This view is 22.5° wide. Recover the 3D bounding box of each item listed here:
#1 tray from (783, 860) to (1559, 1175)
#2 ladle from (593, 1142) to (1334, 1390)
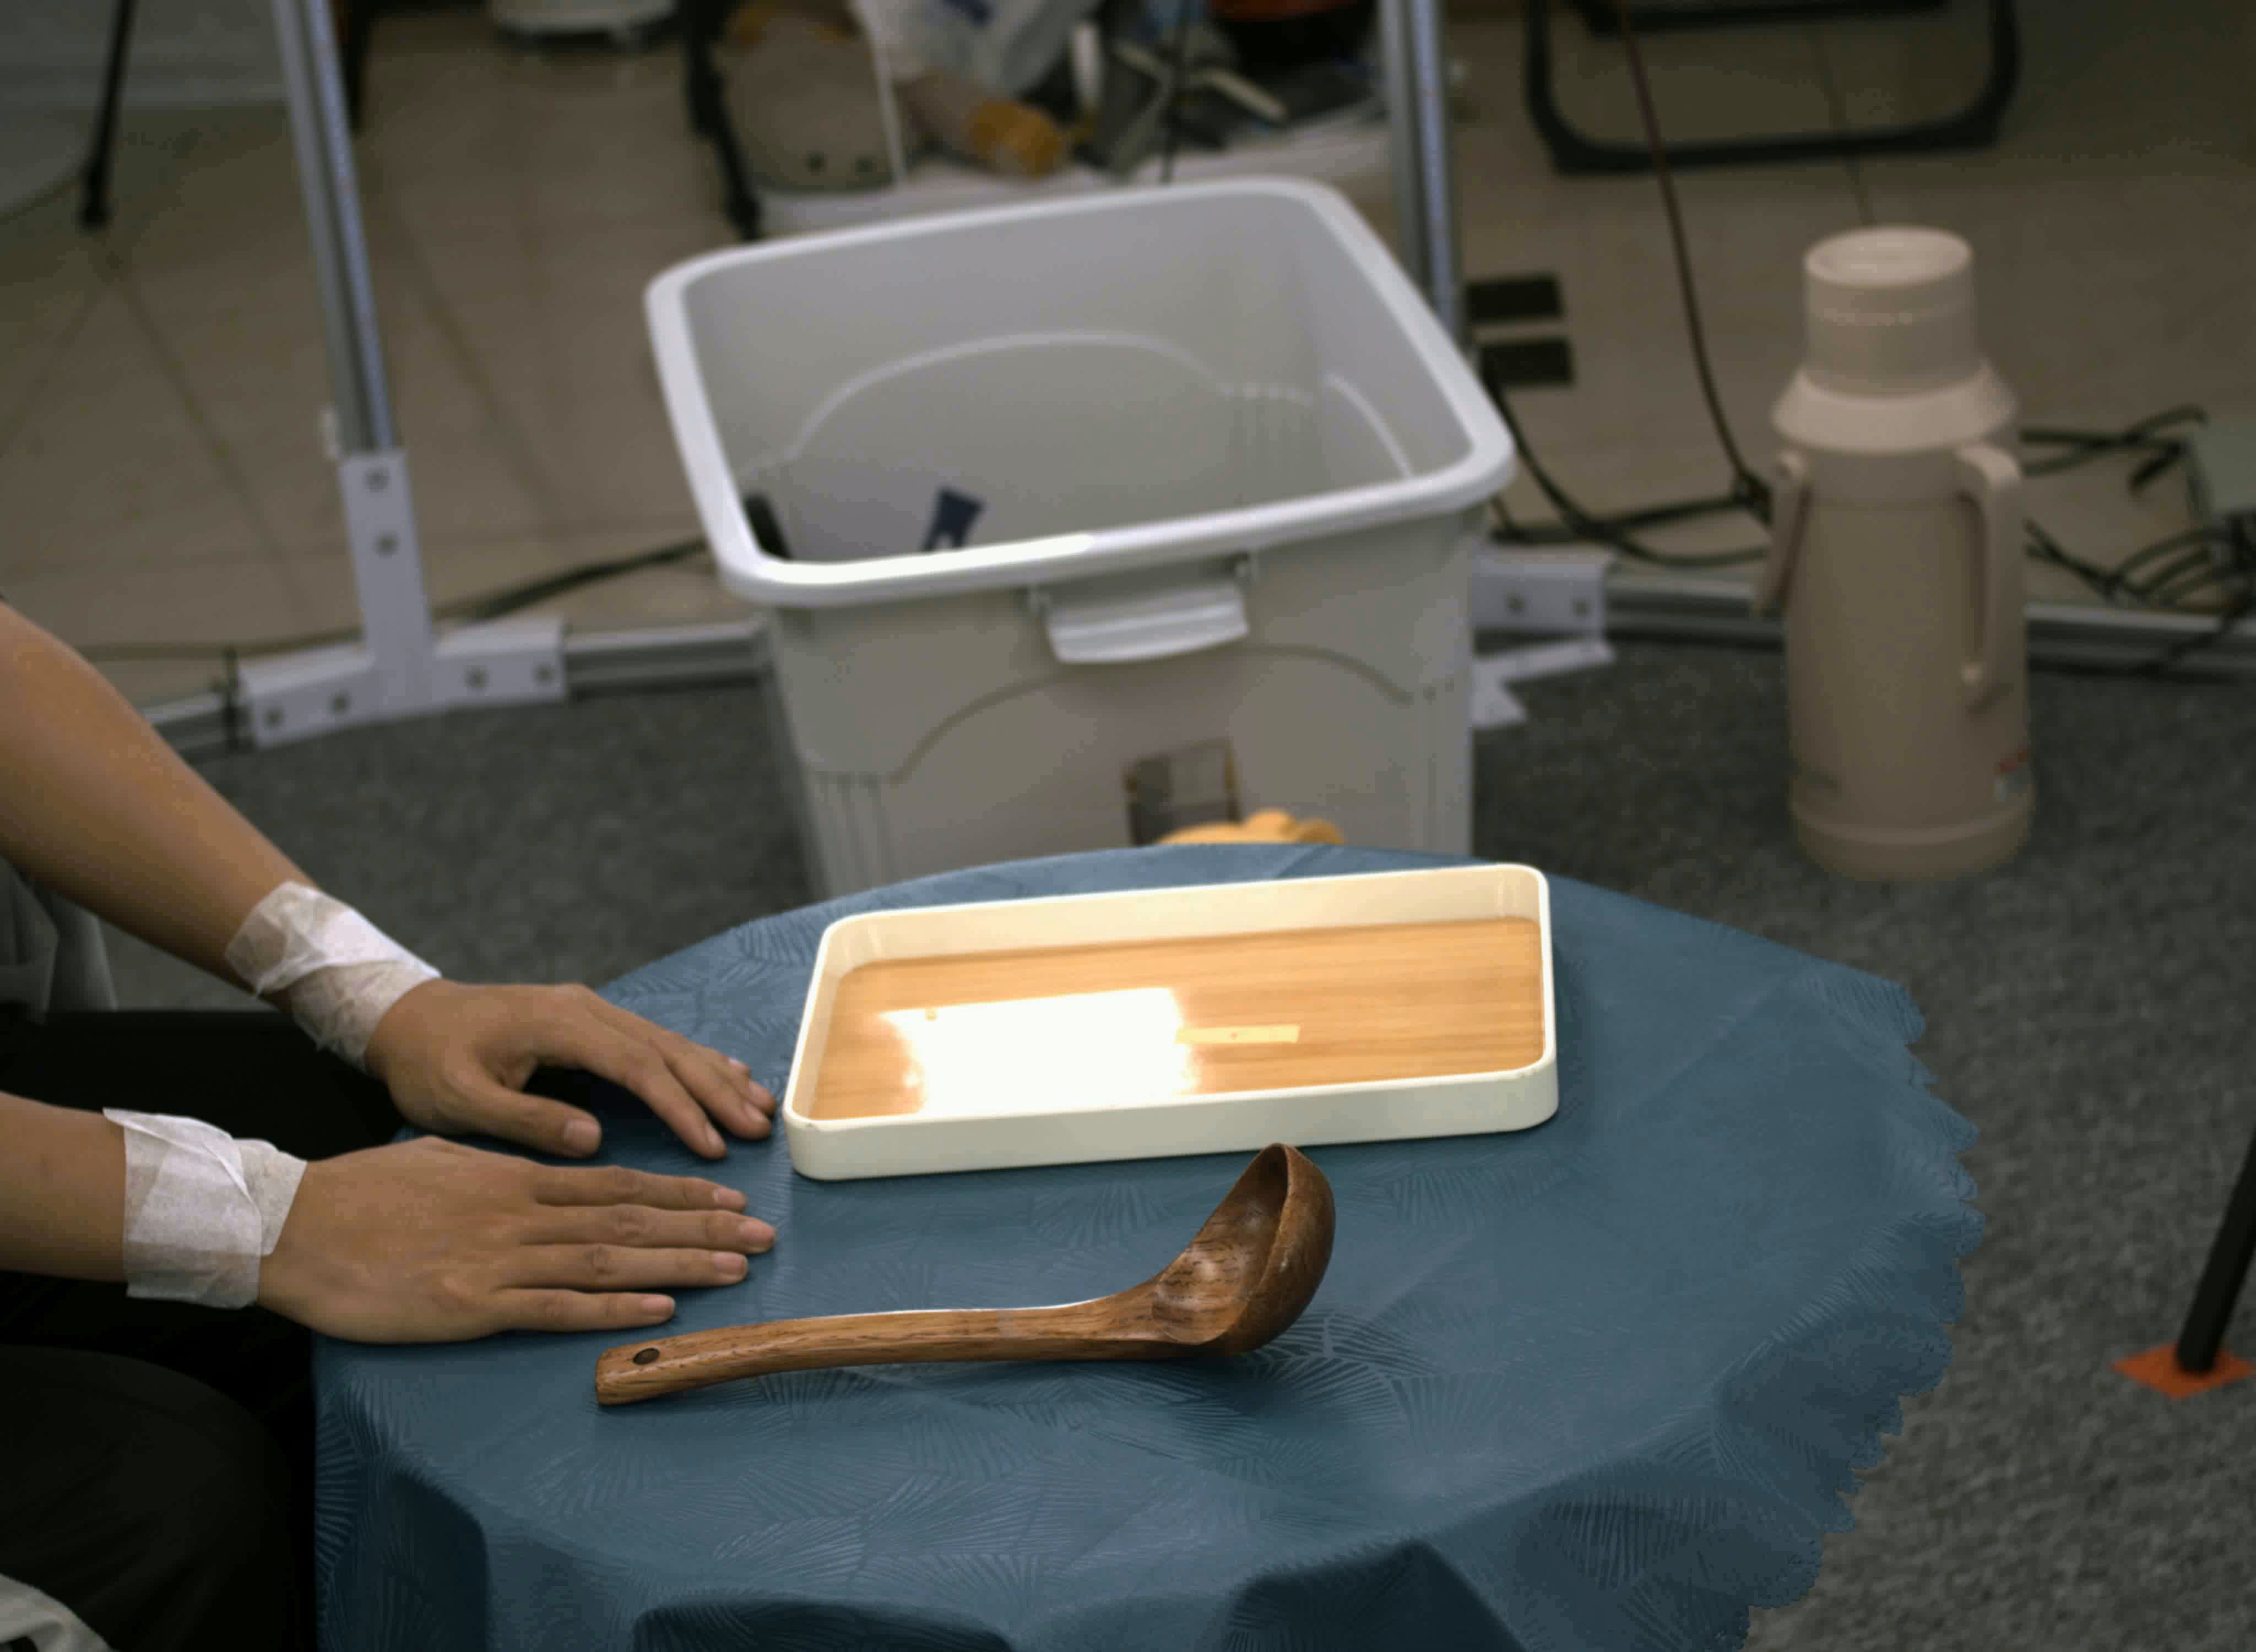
[{"bbox_3d":[0.020,0.075,2.251,0.300,0.028,0.189,-4,25,5],"label":"tray"},{"bbox_3d":[-0.062,0.160,2.028,0.273,0.078,0.080,-4,30,5],"label":"ladle"}]
